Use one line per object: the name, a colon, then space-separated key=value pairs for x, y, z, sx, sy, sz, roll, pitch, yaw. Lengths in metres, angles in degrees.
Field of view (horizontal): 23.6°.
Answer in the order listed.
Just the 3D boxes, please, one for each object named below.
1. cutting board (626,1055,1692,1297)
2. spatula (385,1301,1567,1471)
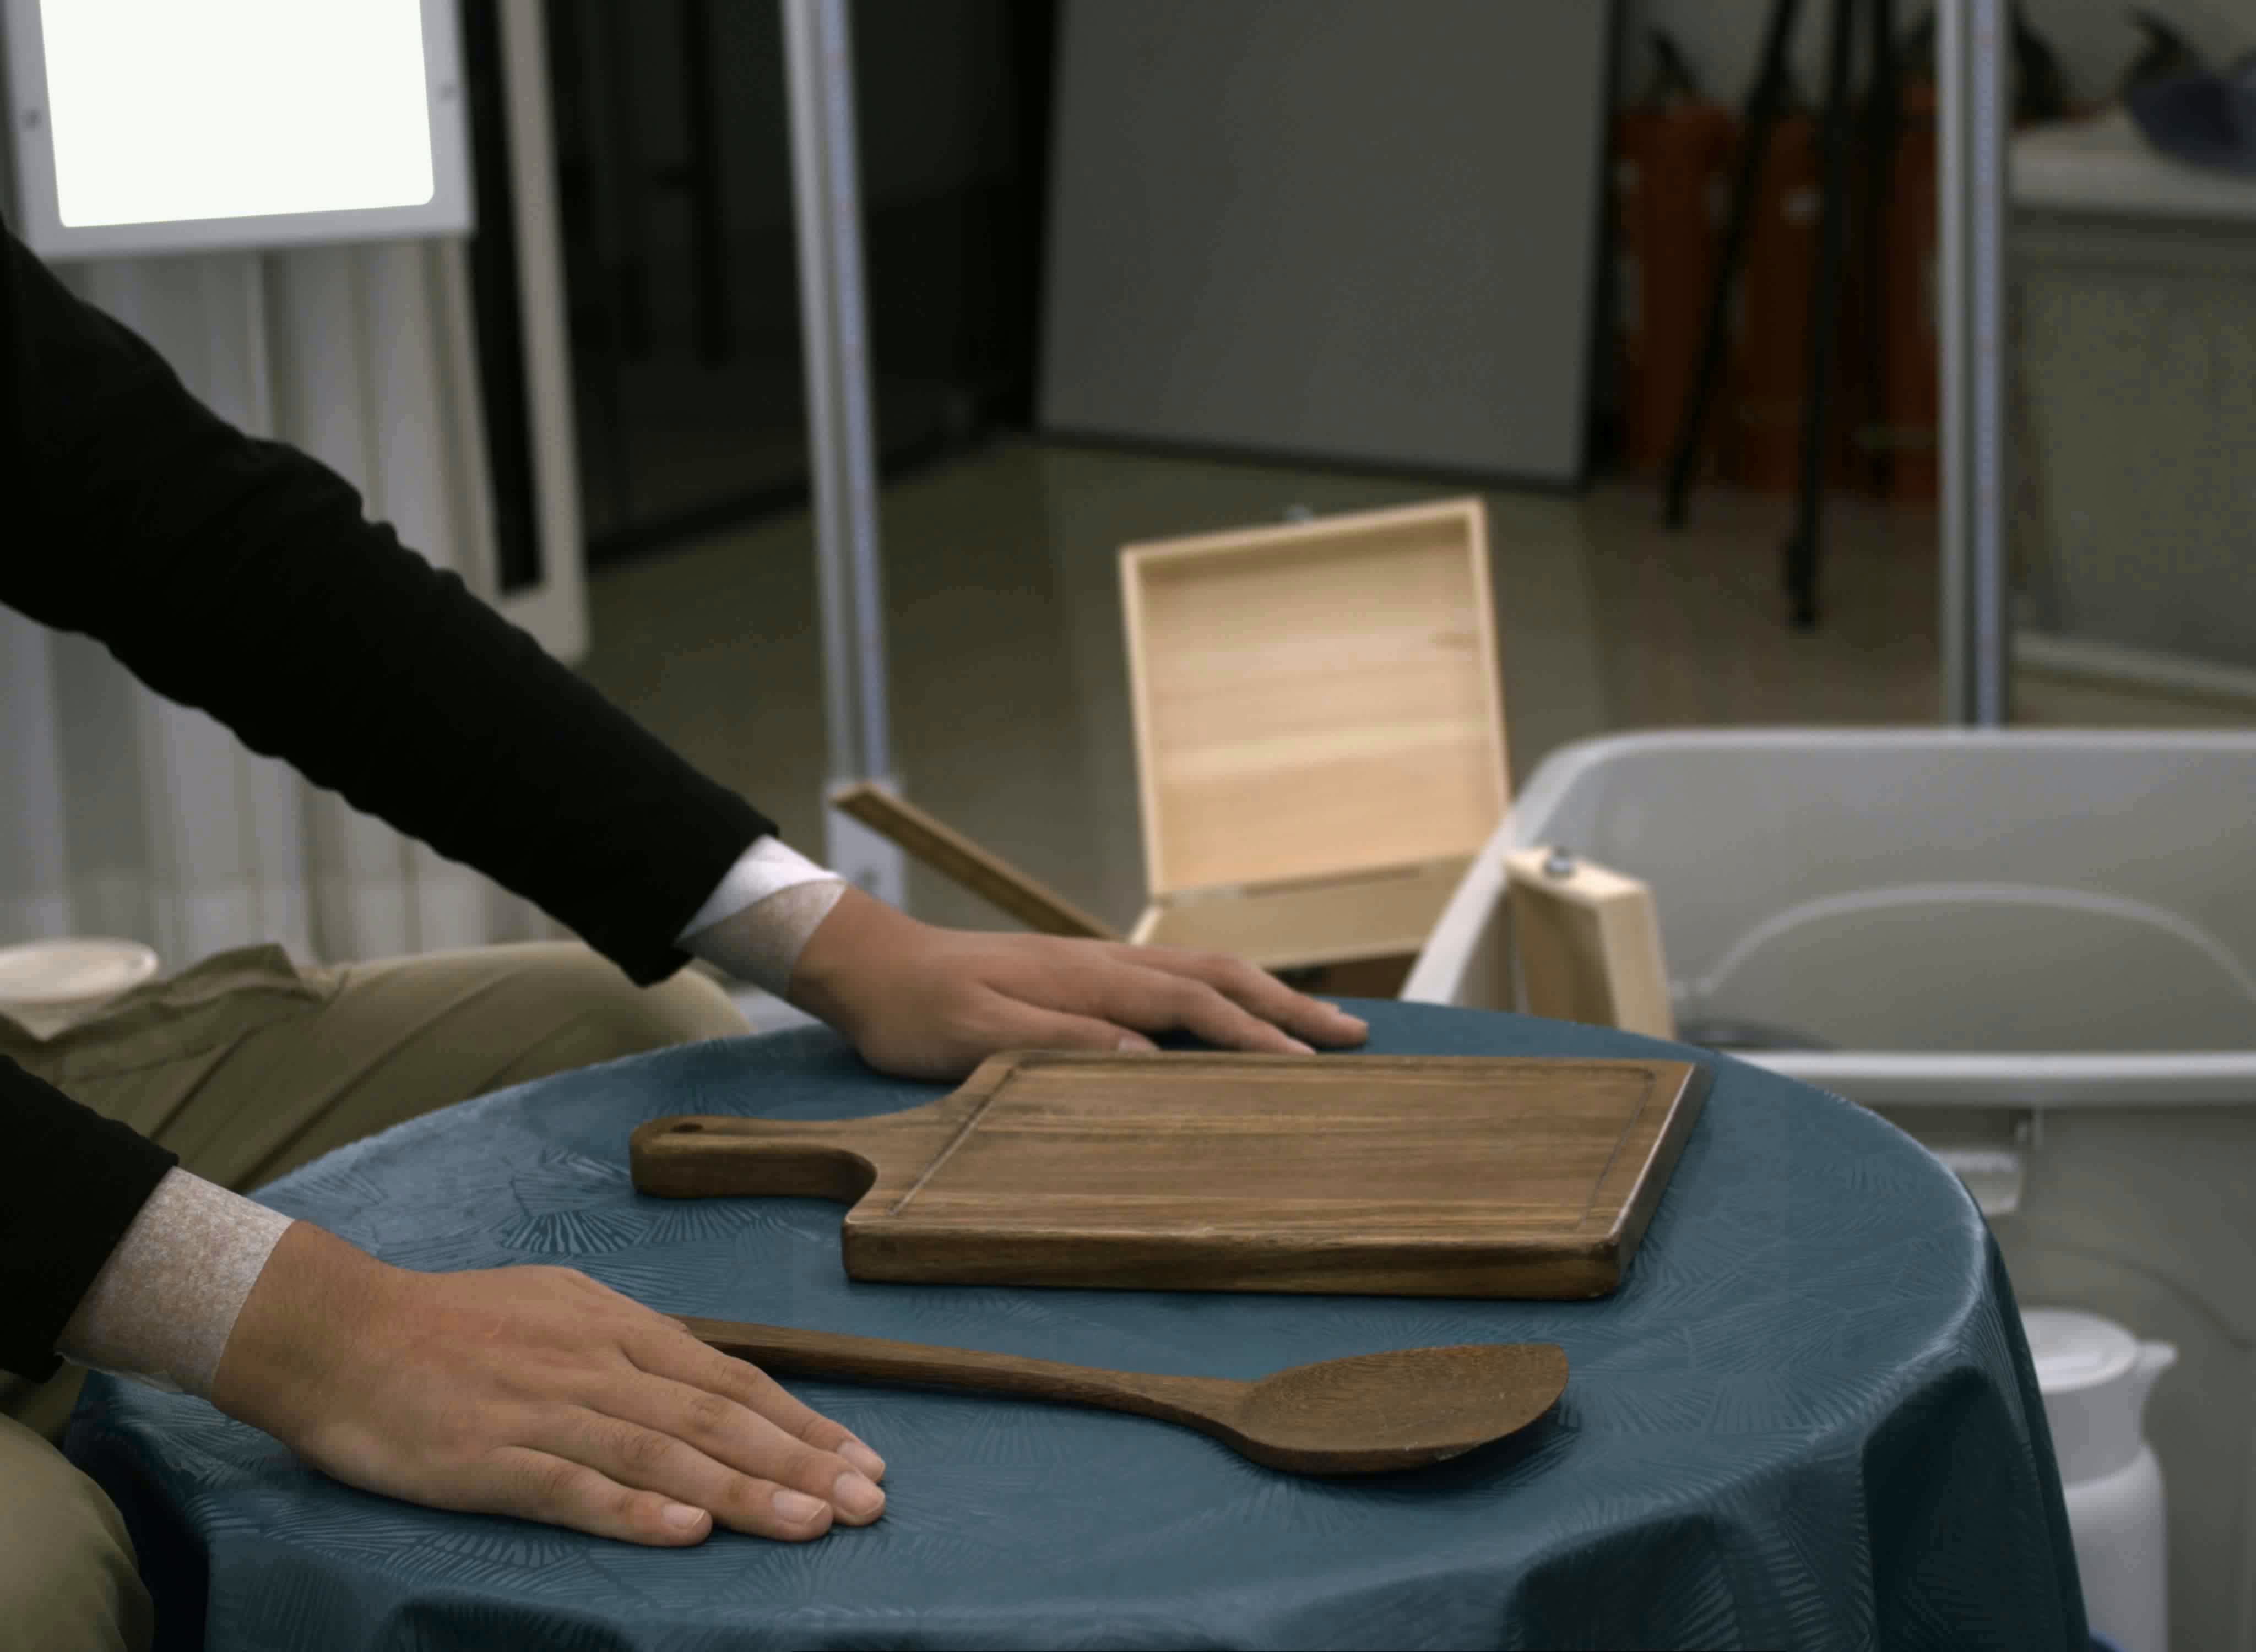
cutting board: x=0.003 y=0.111 z=1.765 sx=0.350 sy=0.023 sz=0.199 roll=0 pitch=14 yaw=15
spatula: x=-0.055 y=0.160 z=1.596 sx=0.386 sy=0.016 sz=0.095 roll=2 pitch=15 yaw=26
